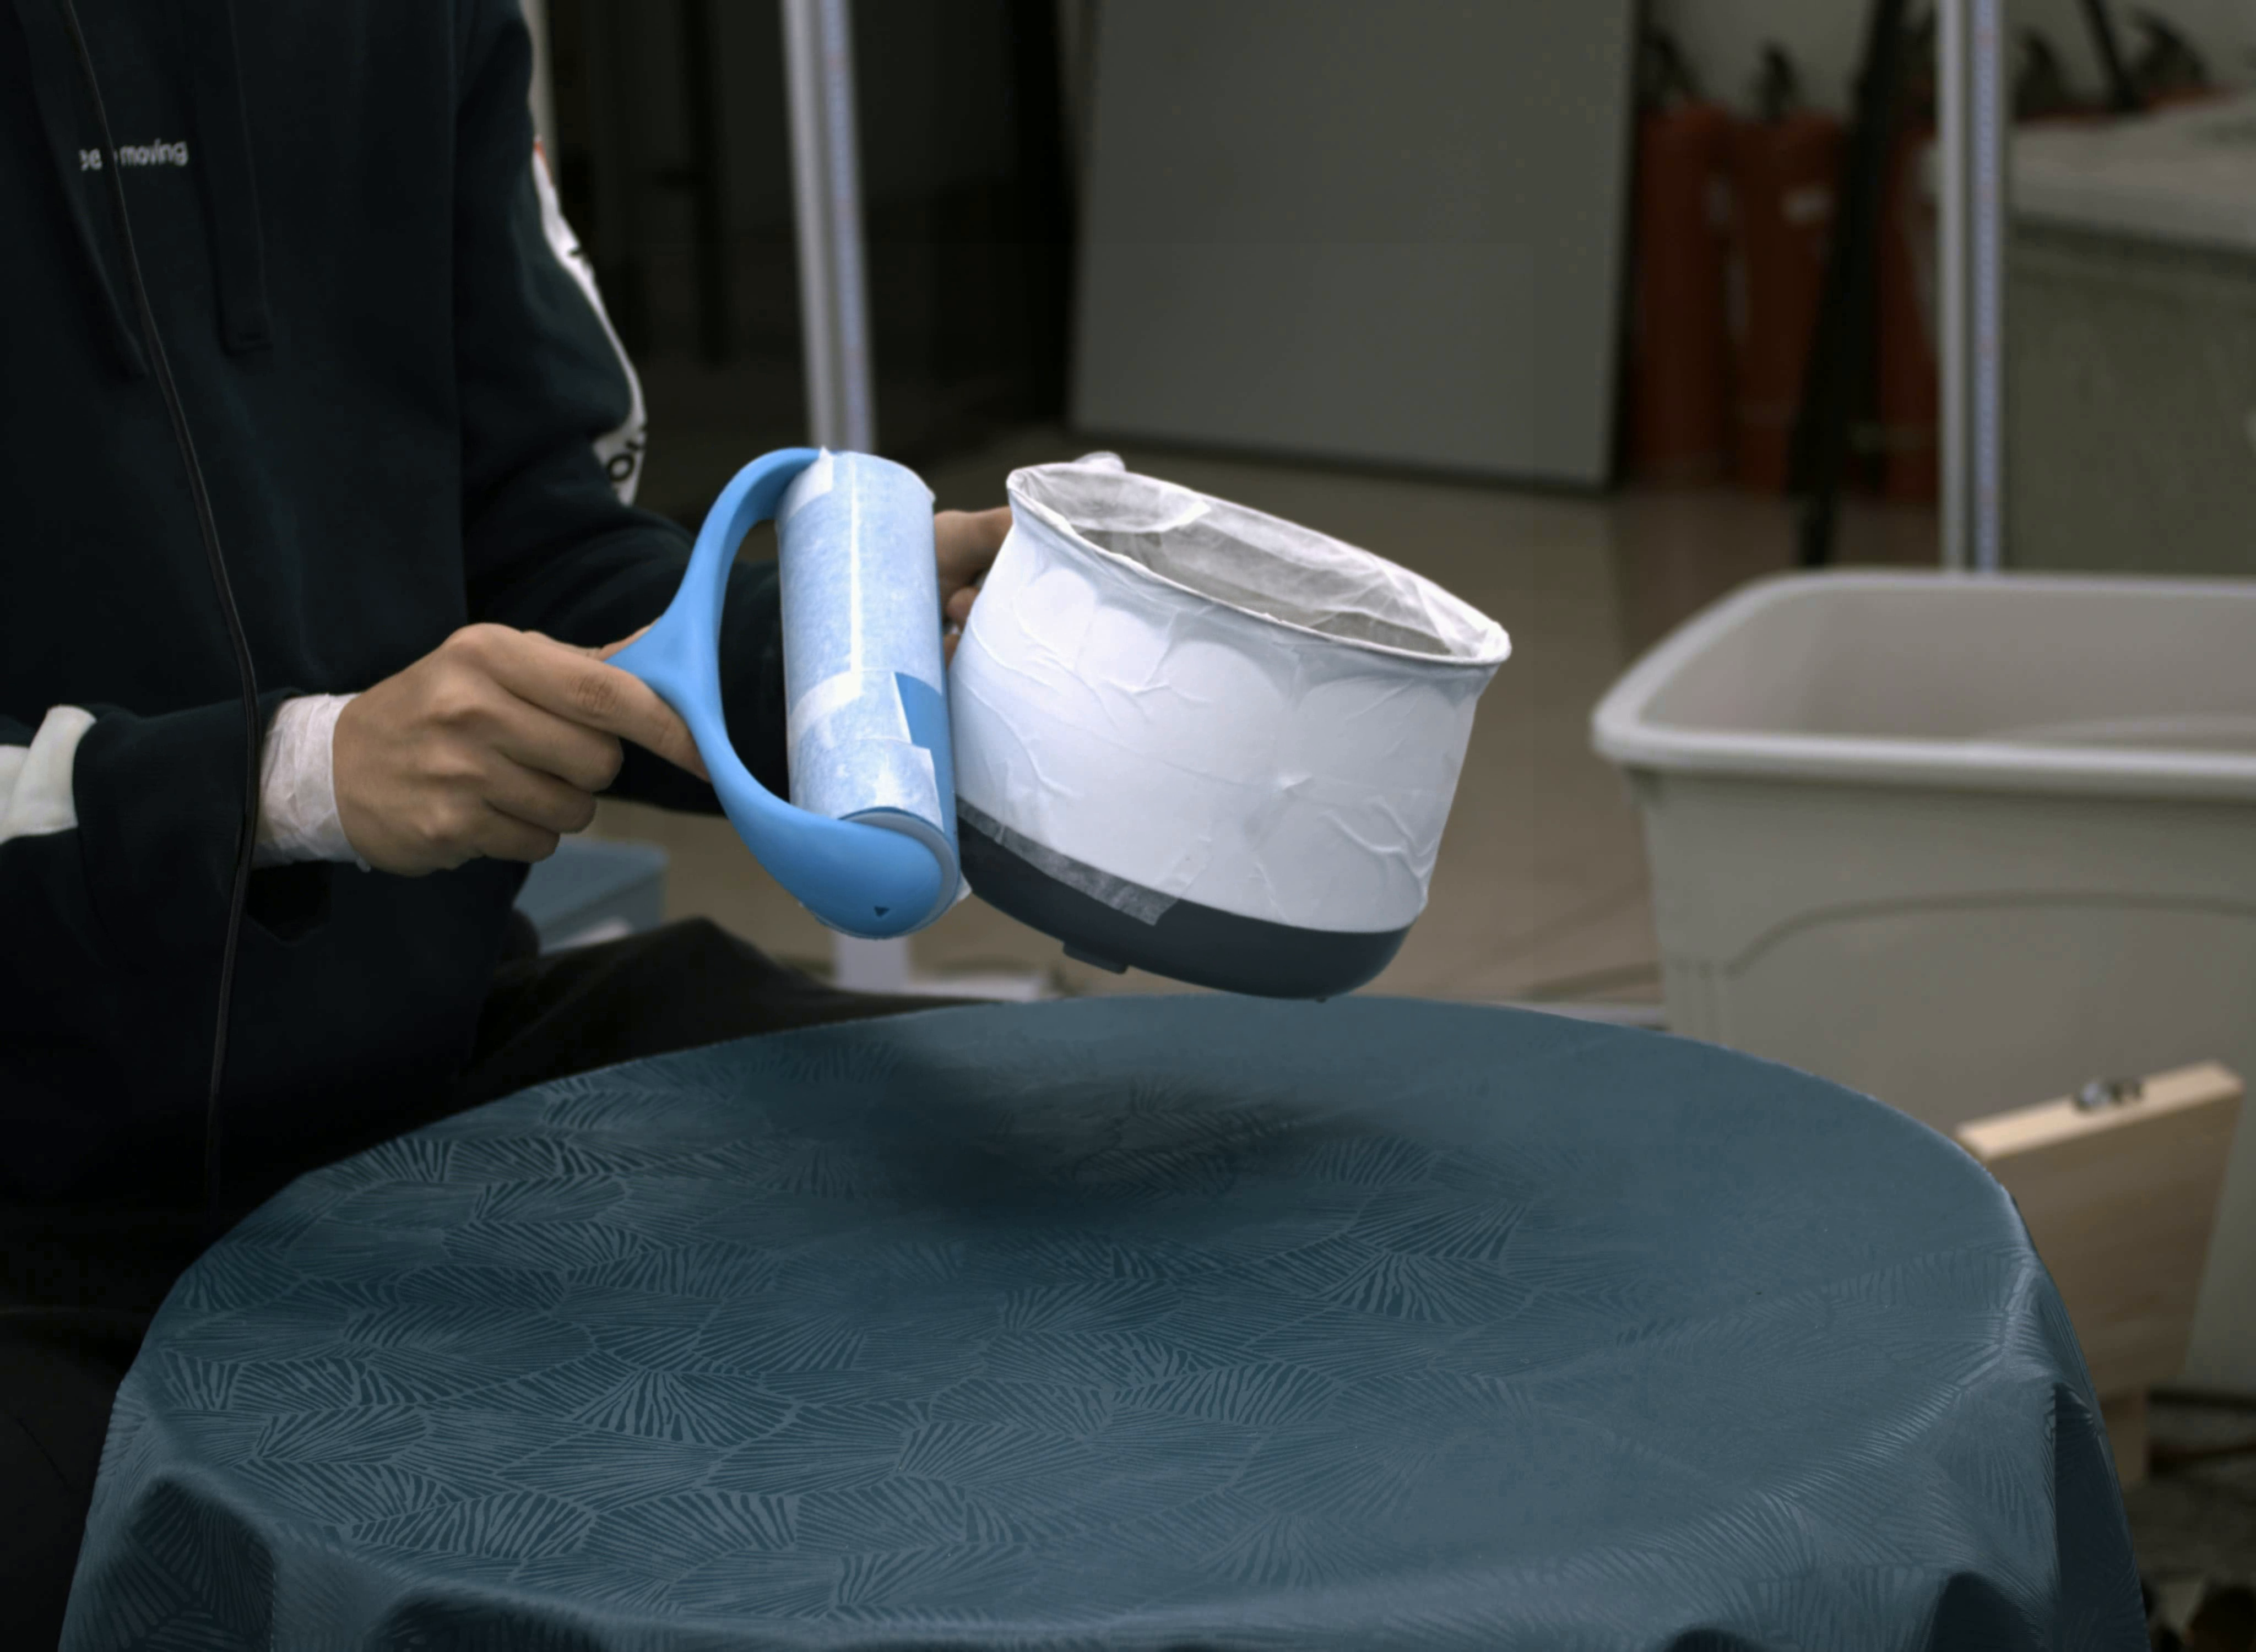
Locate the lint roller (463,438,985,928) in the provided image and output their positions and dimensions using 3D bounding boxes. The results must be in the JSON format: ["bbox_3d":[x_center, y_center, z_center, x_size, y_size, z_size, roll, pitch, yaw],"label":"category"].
[{"bbox_3d":[-0.139,-0.034,1.767,0.178,0.068,0.231,-15,40,2],"label":"lint roller"}]

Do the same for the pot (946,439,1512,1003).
[{"bbox_3d":[0.009,-0.042,1.809,0.174,0.138,0.236,9,17,-36],"label":"pot"}]
